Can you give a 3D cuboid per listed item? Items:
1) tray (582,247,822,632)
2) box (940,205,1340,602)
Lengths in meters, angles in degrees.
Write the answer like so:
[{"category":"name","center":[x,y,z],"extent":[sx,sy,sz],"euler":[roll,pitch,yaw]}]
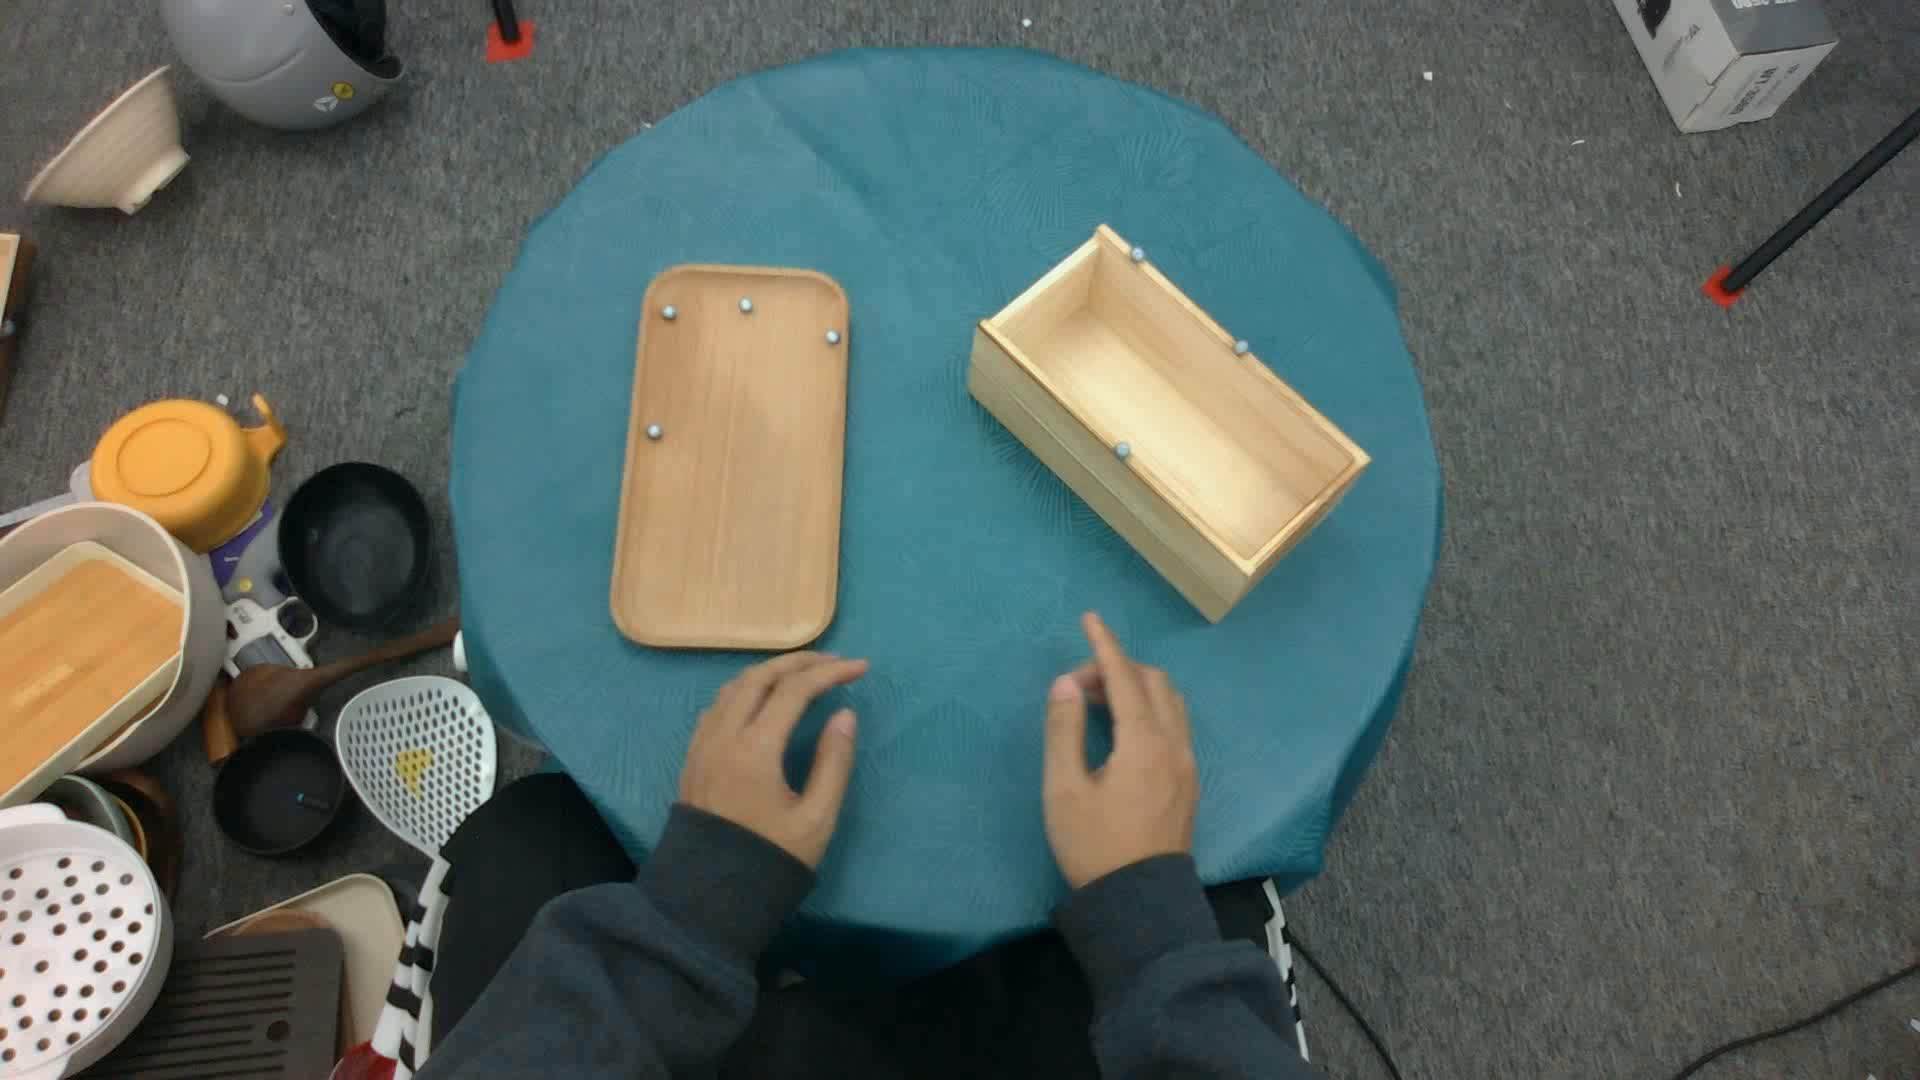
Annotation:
[{"category":"tray","center":[-0.149,-0.064,0.816],"extent":[0.130,0.023,0.251],"euler":[1,68,-2]},{"category":"box","center":[0.101,-0.081,0.812],"extent":[0.108,0.080,0.211],"euler":[-42,77,-19]}]
